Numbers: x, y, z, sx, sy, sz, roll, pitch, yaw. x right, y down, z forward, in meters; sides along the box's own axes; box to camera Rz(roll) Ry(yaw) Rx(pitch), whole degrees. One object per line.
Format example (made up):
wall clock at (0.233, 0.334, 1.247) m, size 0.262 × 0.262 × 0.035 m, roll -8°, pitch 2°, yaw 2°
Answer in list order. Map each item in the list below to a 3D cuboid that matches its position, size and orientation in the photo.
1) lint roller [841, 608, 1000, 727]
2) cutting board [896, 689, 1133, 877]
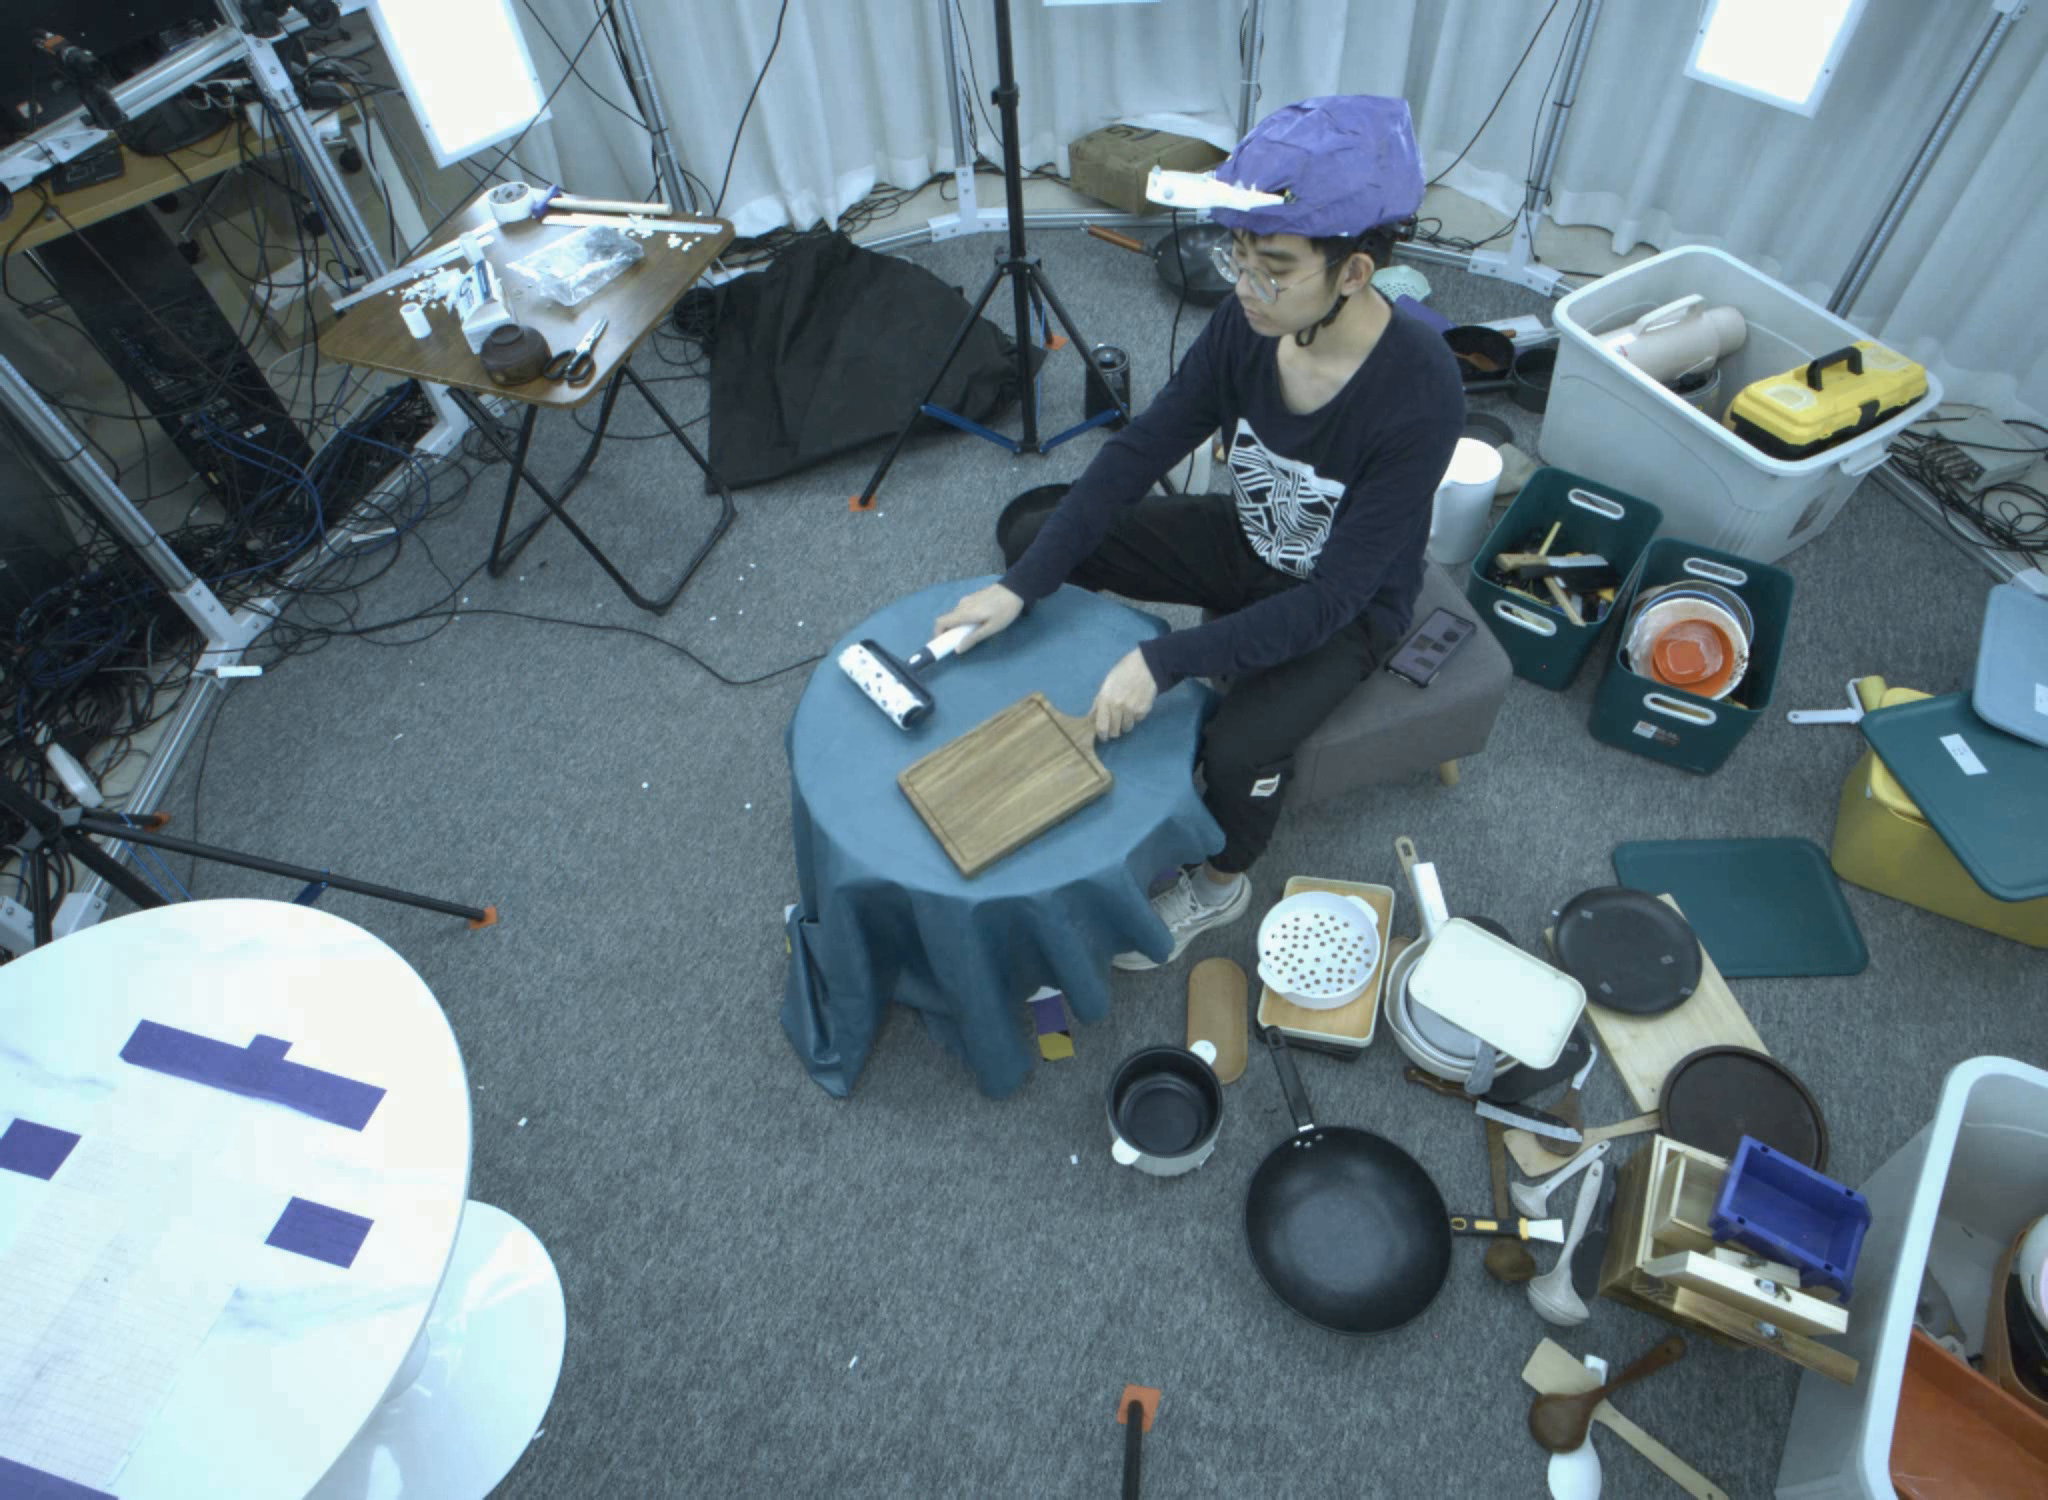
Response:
lint roller at (-0.137, -0.155, 1.872) m, size 0.249 × 0.051 × 0.173 m, roll -37°, pitch 60°, yaw -20°
cutting board at (0.012, 0.016, 1.752) m, size 0.354 × 0.023 × 0.197 m, roll -33°, pitch 61°, yaw -14°
